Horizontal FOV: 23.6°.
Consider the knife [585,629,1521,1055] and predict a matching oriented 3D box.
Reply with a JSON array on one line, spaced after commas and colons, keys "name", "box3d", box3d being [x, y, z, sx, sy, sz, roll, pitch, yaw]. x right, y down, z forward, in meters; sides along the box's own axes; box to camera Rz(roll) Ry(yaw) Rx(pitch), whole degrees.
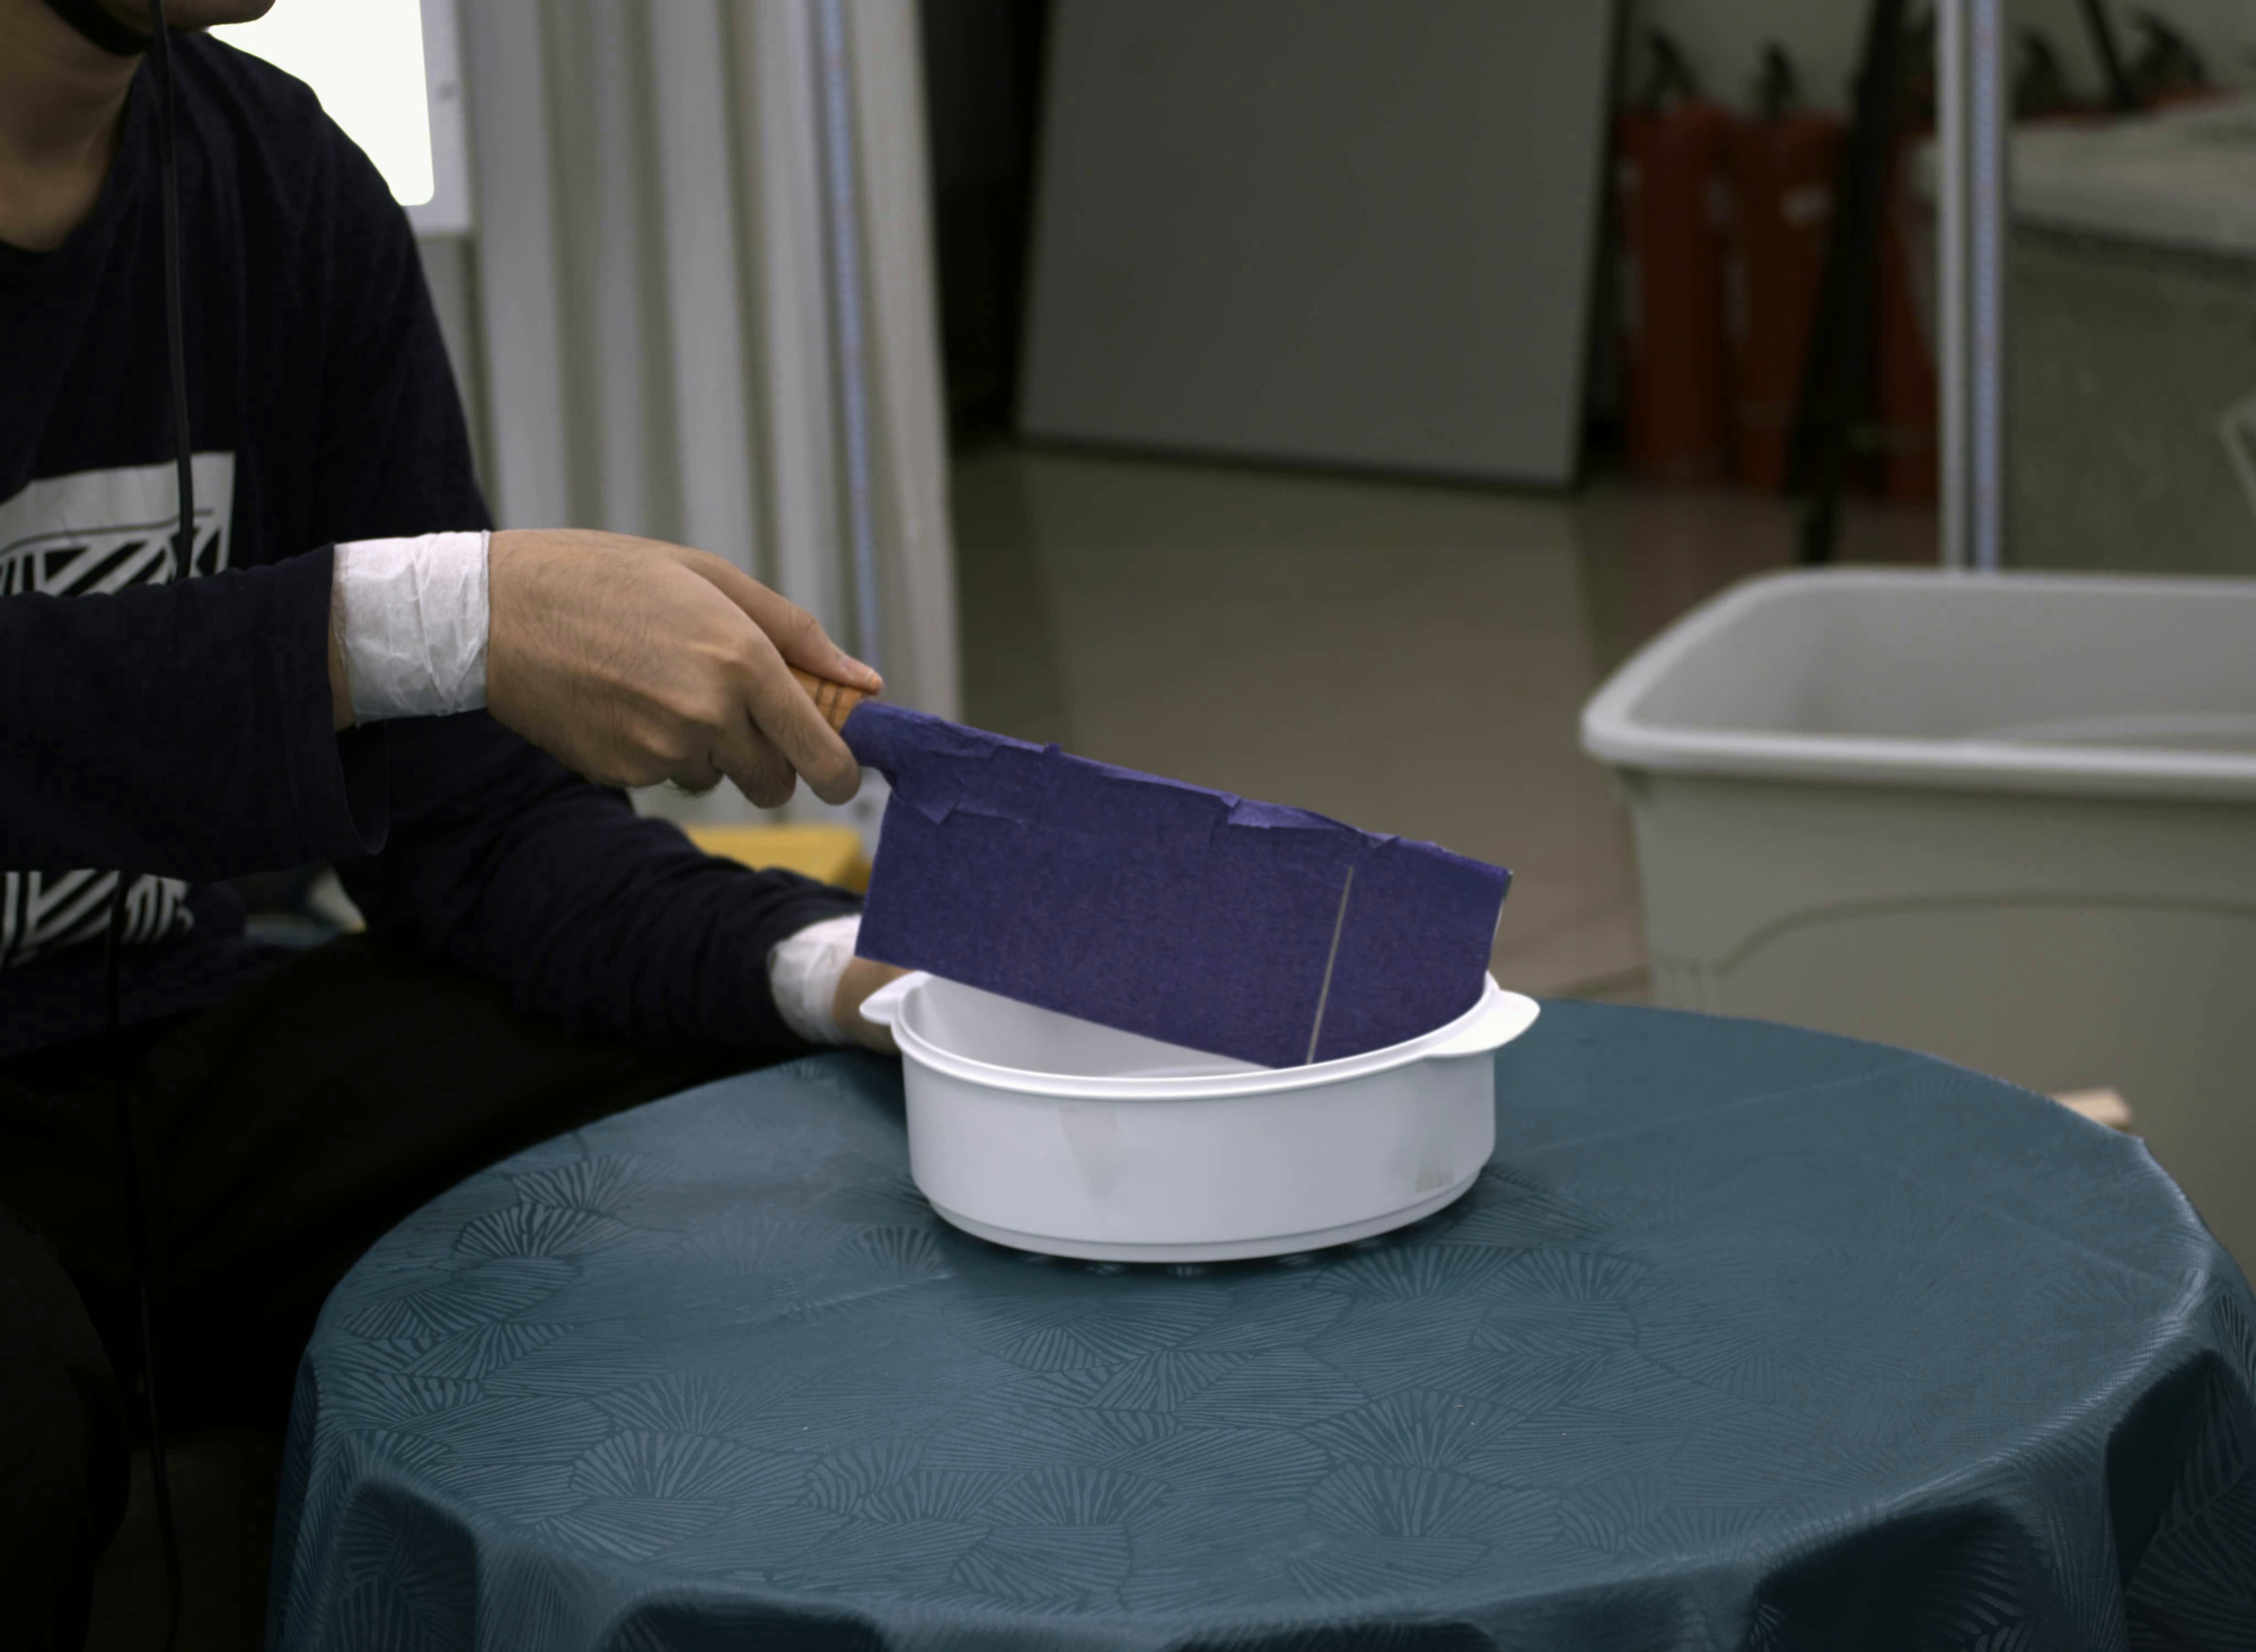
[{"name": "knife", "box3d": [-0.031, 0.014, 1.764, 0.313, 0.105, 0.032, 14, 19, 7]}]

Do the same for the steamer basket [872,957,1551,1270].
[{"name": "steamer basket", "box3d": [0.028, 0.089, 1.762, 0.231, 0.070, 0.199, -1, 12, 24]}]
